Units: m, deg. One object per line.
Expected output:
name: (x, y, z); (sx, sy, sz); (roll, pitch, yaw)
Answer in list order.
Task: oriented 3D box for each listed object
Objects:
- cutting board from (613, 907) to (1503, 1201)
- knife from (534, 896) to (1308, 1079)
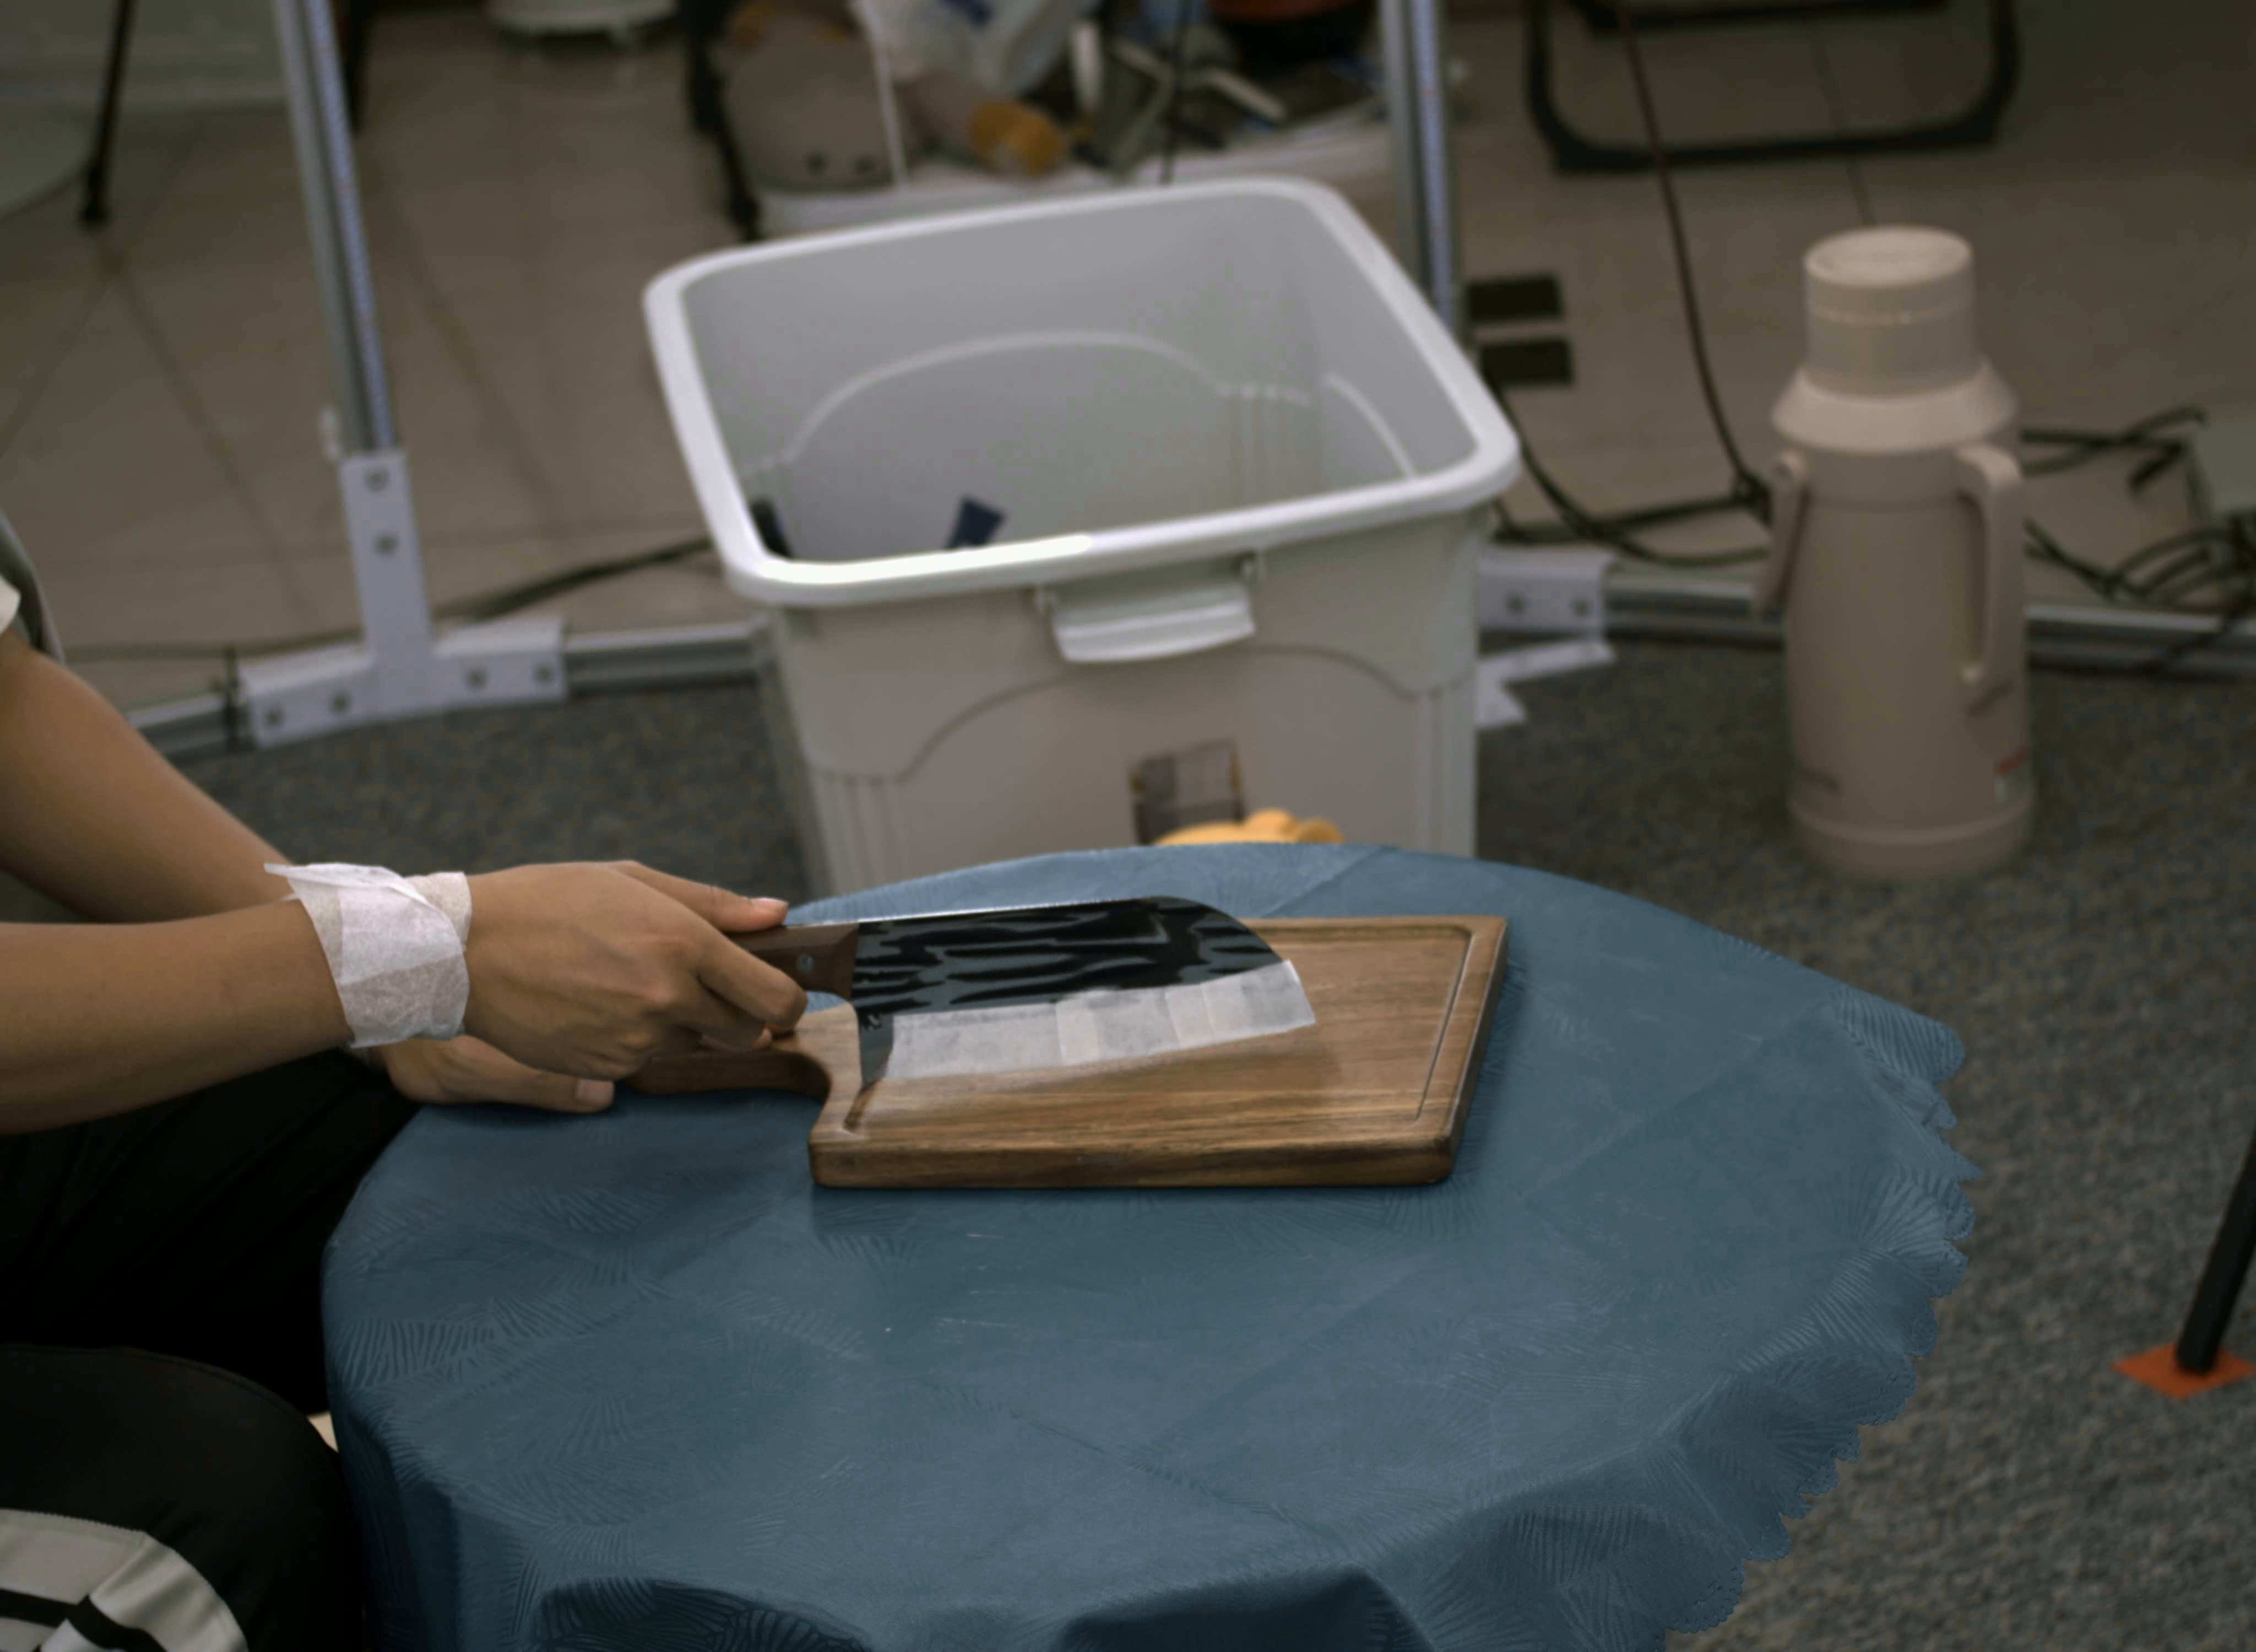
cutting board: (-0.033, 0.090, 2.246); (0.351, 0.023, 0.198); (-2, 27, 12)
knife: (-0.079, 0.064, 2.195); (0.299, 0.069, 0.024); (-3, 18, -5)
